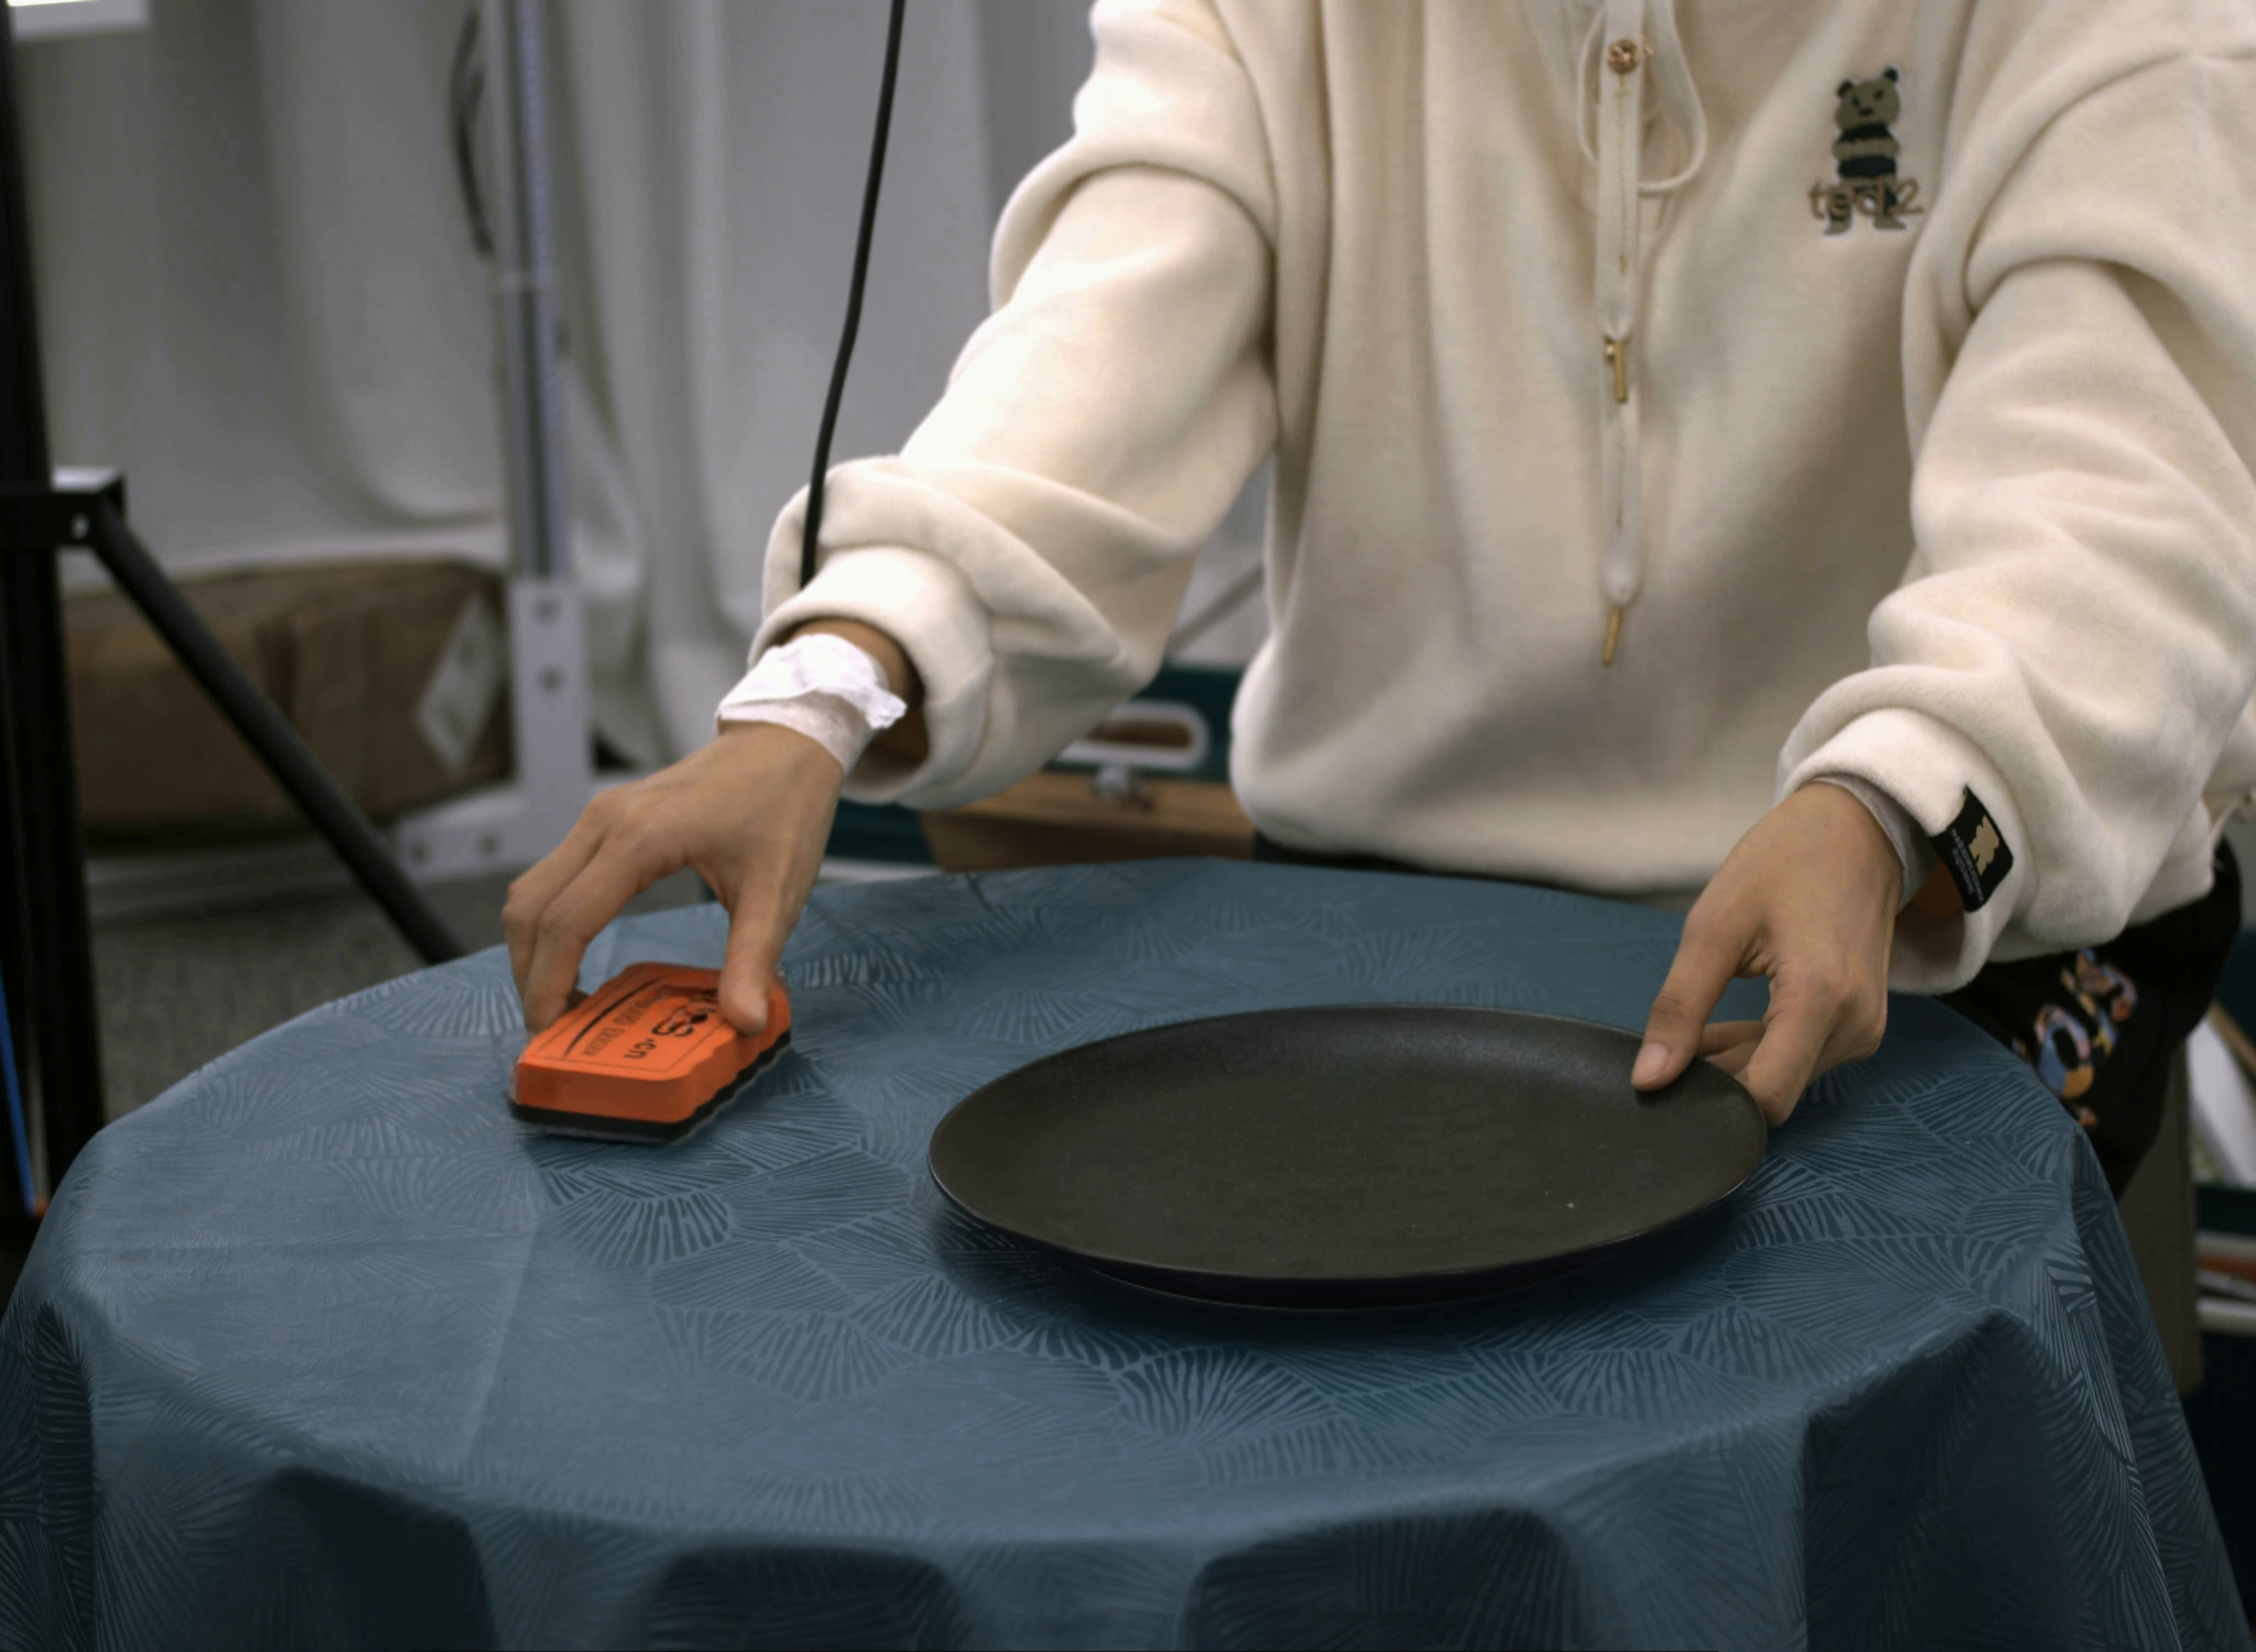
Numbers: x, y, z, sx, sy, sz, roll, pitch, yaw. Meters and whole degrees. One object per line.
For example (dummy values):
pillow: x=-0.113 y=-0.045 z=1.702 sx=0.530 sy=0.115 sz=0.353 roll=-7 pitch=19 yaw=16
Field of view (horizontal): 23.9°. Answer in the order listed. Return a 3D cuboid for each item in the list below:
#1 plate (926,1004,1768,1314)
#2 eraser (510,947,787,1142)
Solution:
plate: x=0.064 y=0.099 z=1.537 sx=0.243 sy=0.023 sz=0.245 roll=-3 pitch=16 yaw=-1
eraser: x=-0.149 y=0.068 z=1.668 sx=0.059 sy=0.023 sz=0.107 roll=5 pitch=20 yaw=17
